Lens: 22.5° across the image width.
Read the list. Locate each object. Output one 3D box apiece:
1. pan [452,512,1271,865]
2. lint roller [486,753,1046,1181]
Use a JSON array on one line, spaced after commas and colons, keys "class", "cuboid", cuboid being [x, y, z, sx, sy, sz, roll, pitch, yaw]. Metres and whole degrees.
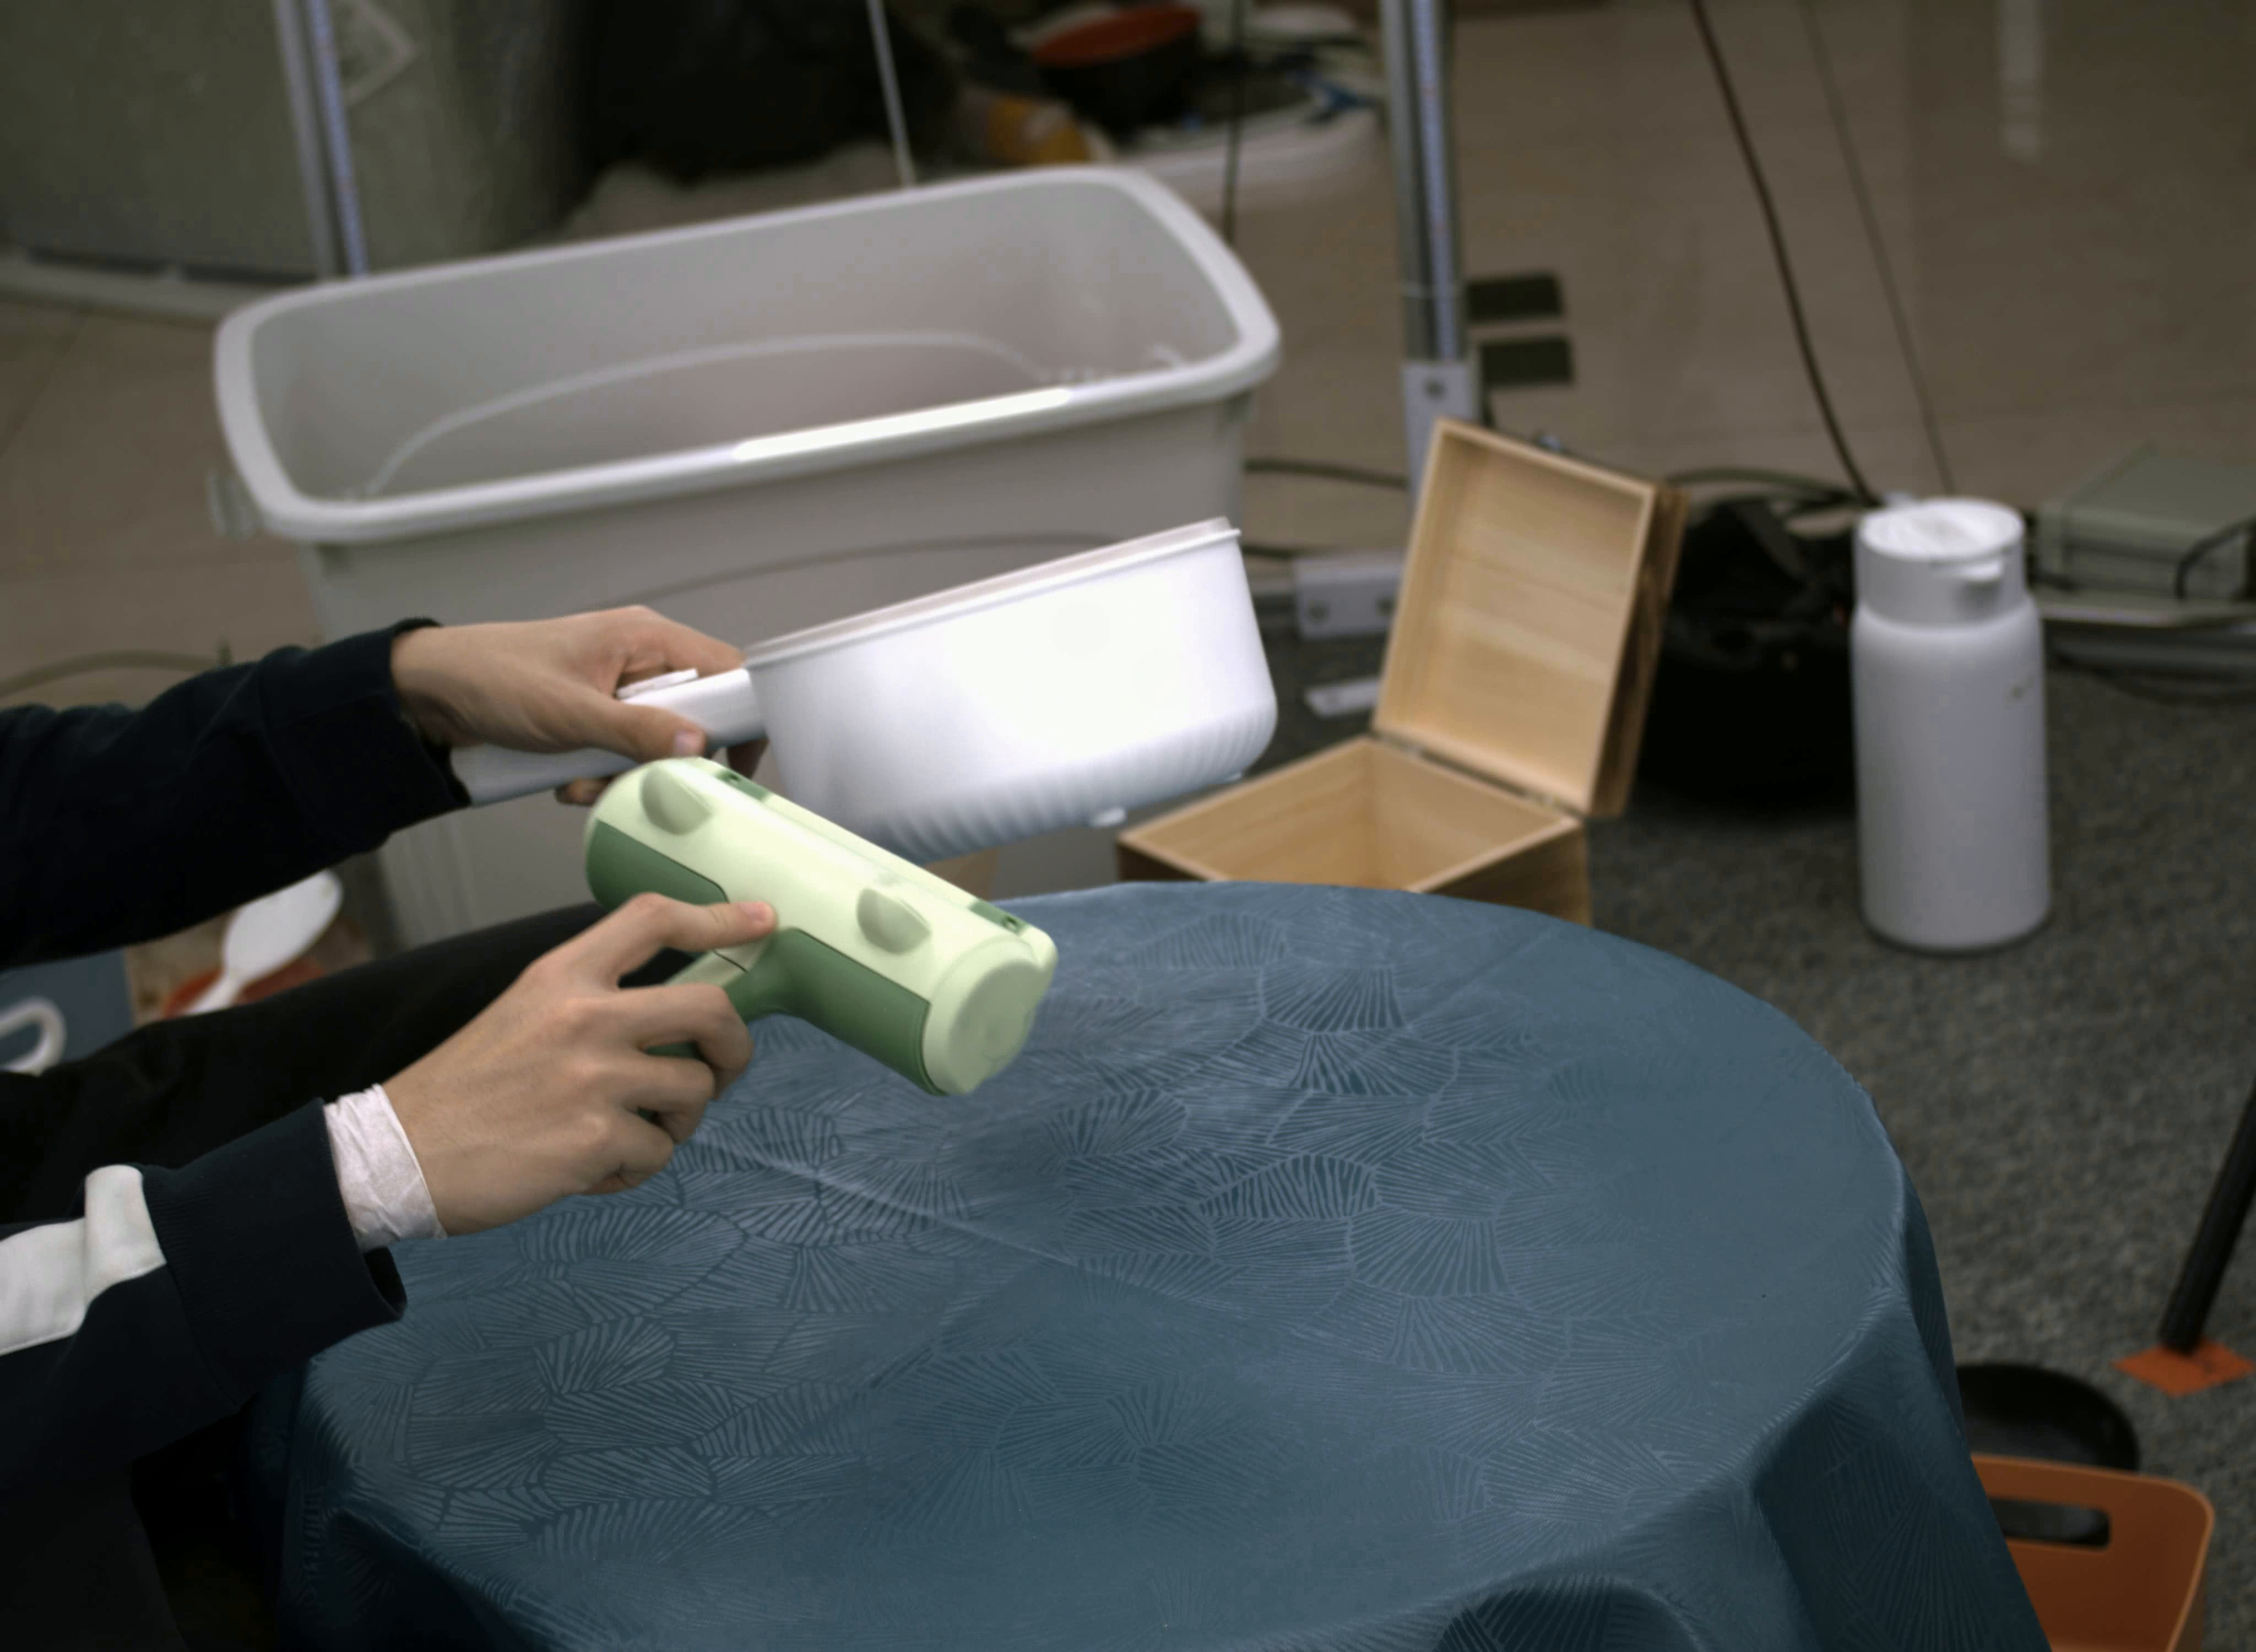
[{"class": "pan", "cuboid": [-0.109, -0.030, 2.233, 0.355, 0.102, 0.200, -15, 2, 29]}, {"class": "lint roller", "cuboid": [-0.157, 0.051, 1.982, 0.196, 0.084, 0.181, 27, 47, 37]}]
